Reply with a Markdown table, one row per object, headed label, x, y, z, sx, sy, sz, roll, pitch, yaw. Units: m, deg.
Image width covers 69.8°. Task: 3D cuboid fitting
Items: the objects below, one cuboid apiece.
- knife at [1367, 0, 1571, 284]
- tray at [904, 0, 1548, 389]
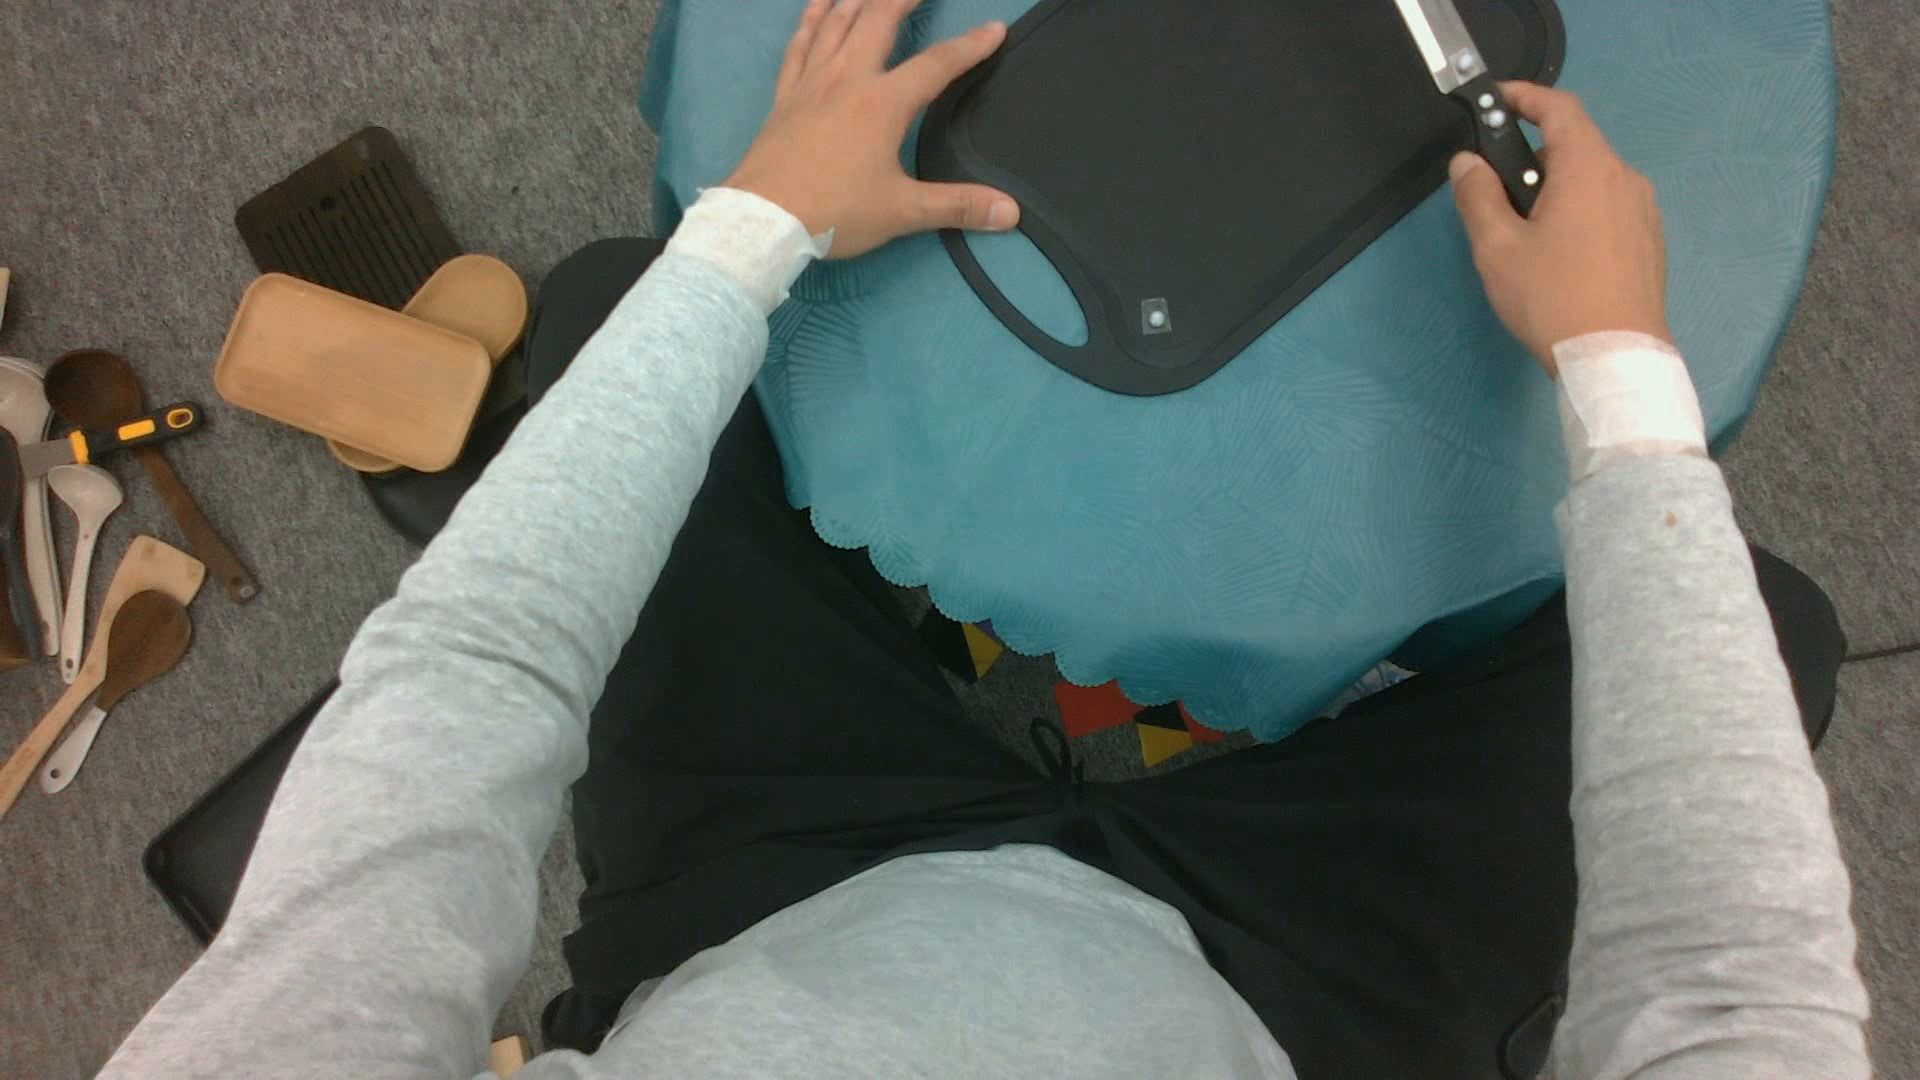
| label | x | y | z | sx | sy | sz | roll | pitch | yaw |
| --- | --- | --- | --- | --- | --- | --- | --- | --- | --- |
| knife | 0.228 | -0.229 | 0.662 | 0.024 | 0.016 | 0.238 | -29 | 81 | 11 |
| tray | 0.131 | -0.230 | 0.713 | 0.325 | 0.010 | 0.211 | -40 | 84 | -2 |
